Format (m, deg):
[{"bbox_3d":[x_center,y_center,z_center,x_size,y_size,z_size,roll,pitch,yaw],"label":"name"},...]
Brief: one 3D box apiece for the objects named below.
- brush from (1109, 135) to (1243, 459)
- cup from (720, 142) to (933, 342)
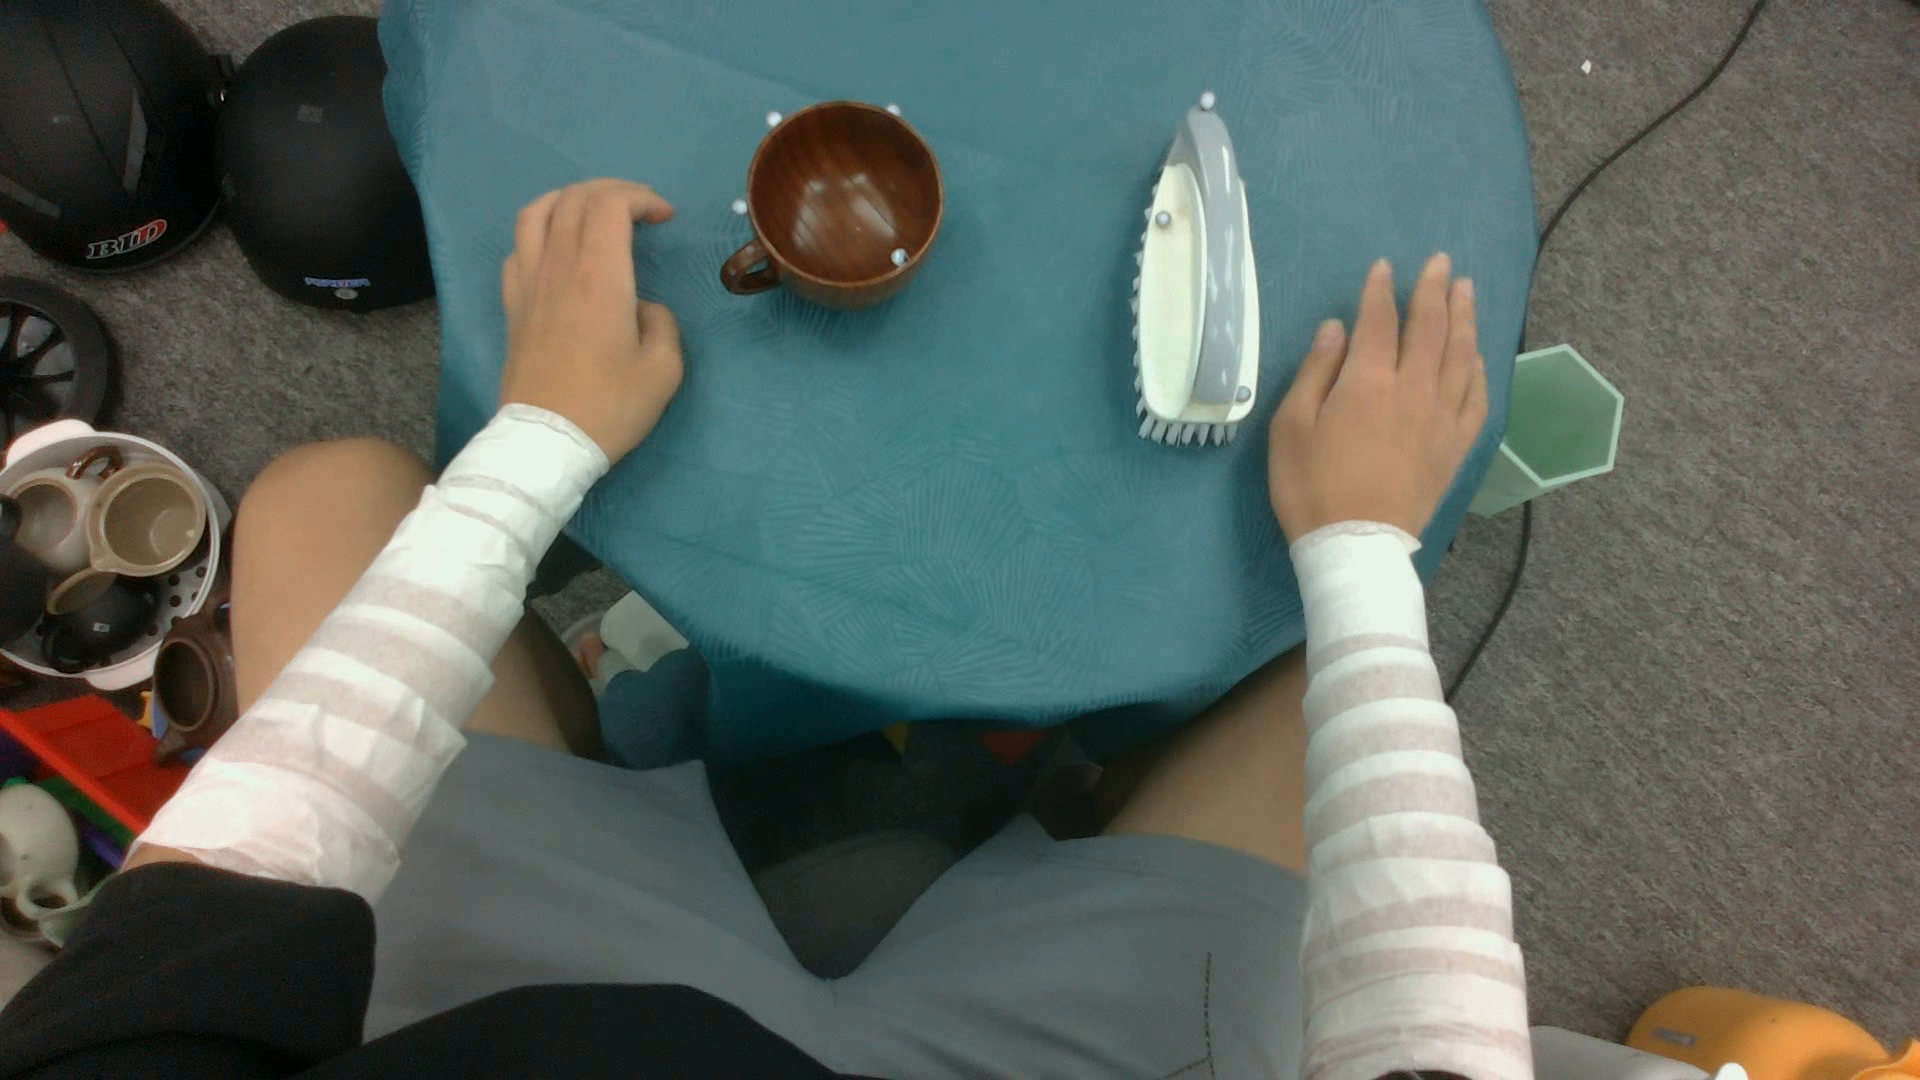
[{"bbox_3d":[0.115,-0.137,0.707,0.061,0.094,0.176,2,75,-9],"label":"brush"},{"bbox_3d":[-0.073,-0.139,0.705,0.119,0.067,0.096,-38,85,-11],"label":"cup"}]
